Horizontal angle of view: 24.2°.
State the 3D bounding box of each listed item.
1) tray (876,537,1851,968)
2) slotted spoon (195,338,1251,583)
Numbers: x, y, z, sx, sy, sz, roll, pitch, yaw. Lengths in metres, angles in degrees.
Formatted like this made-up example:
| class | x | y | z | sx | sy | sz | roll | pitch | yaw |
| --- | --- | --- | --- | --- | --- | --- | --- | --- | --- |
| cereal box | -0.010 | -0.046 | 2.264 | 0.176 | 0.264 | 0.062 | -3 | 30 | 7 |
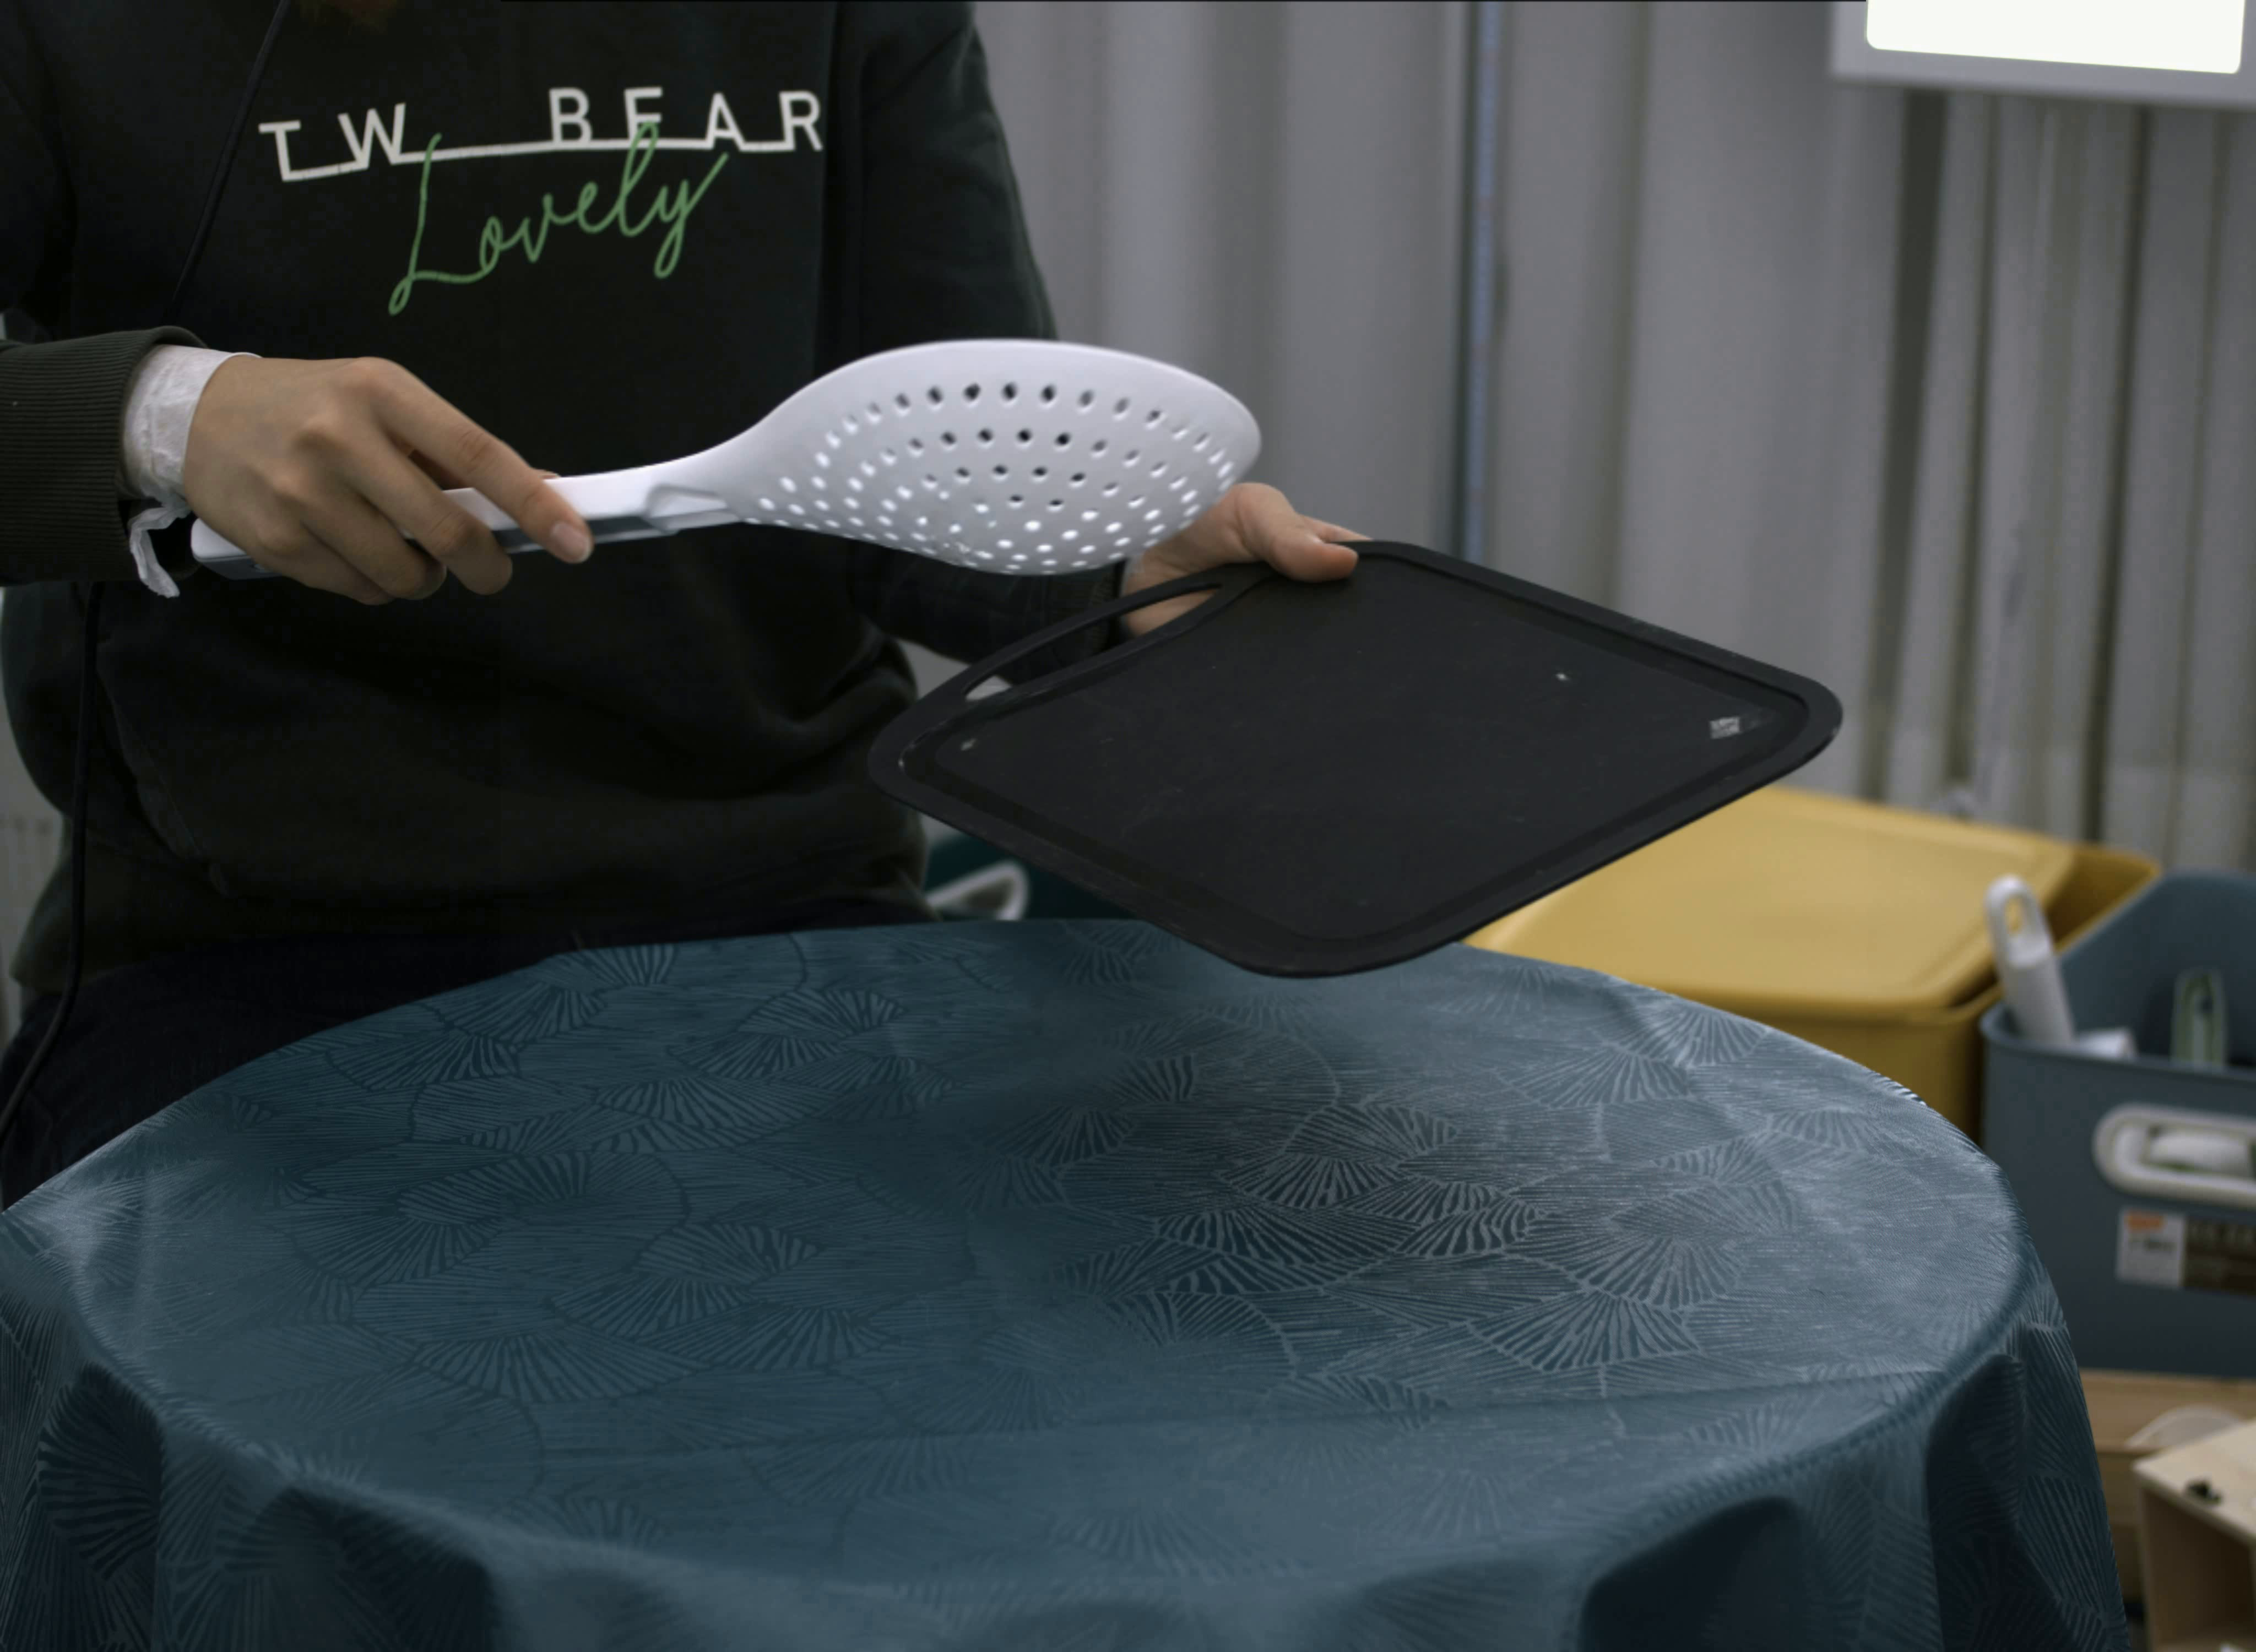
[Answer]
| class | x | y | z | sx | sy | sz | roll | pitch | yaw |
| --- | --- | --- | --- | --- | --- | --- | --- | --- | --- |
| tray | 0.061 | -0.031 | 1.629 | 0.211 | 0.010 | 0.321 | -25 | 26 | -24 |
| slotted spoon | -0.129 | -0.101 | 1.572 | 0.346 | 0.045 | 0.137 | 0 | -15 | 25 |
